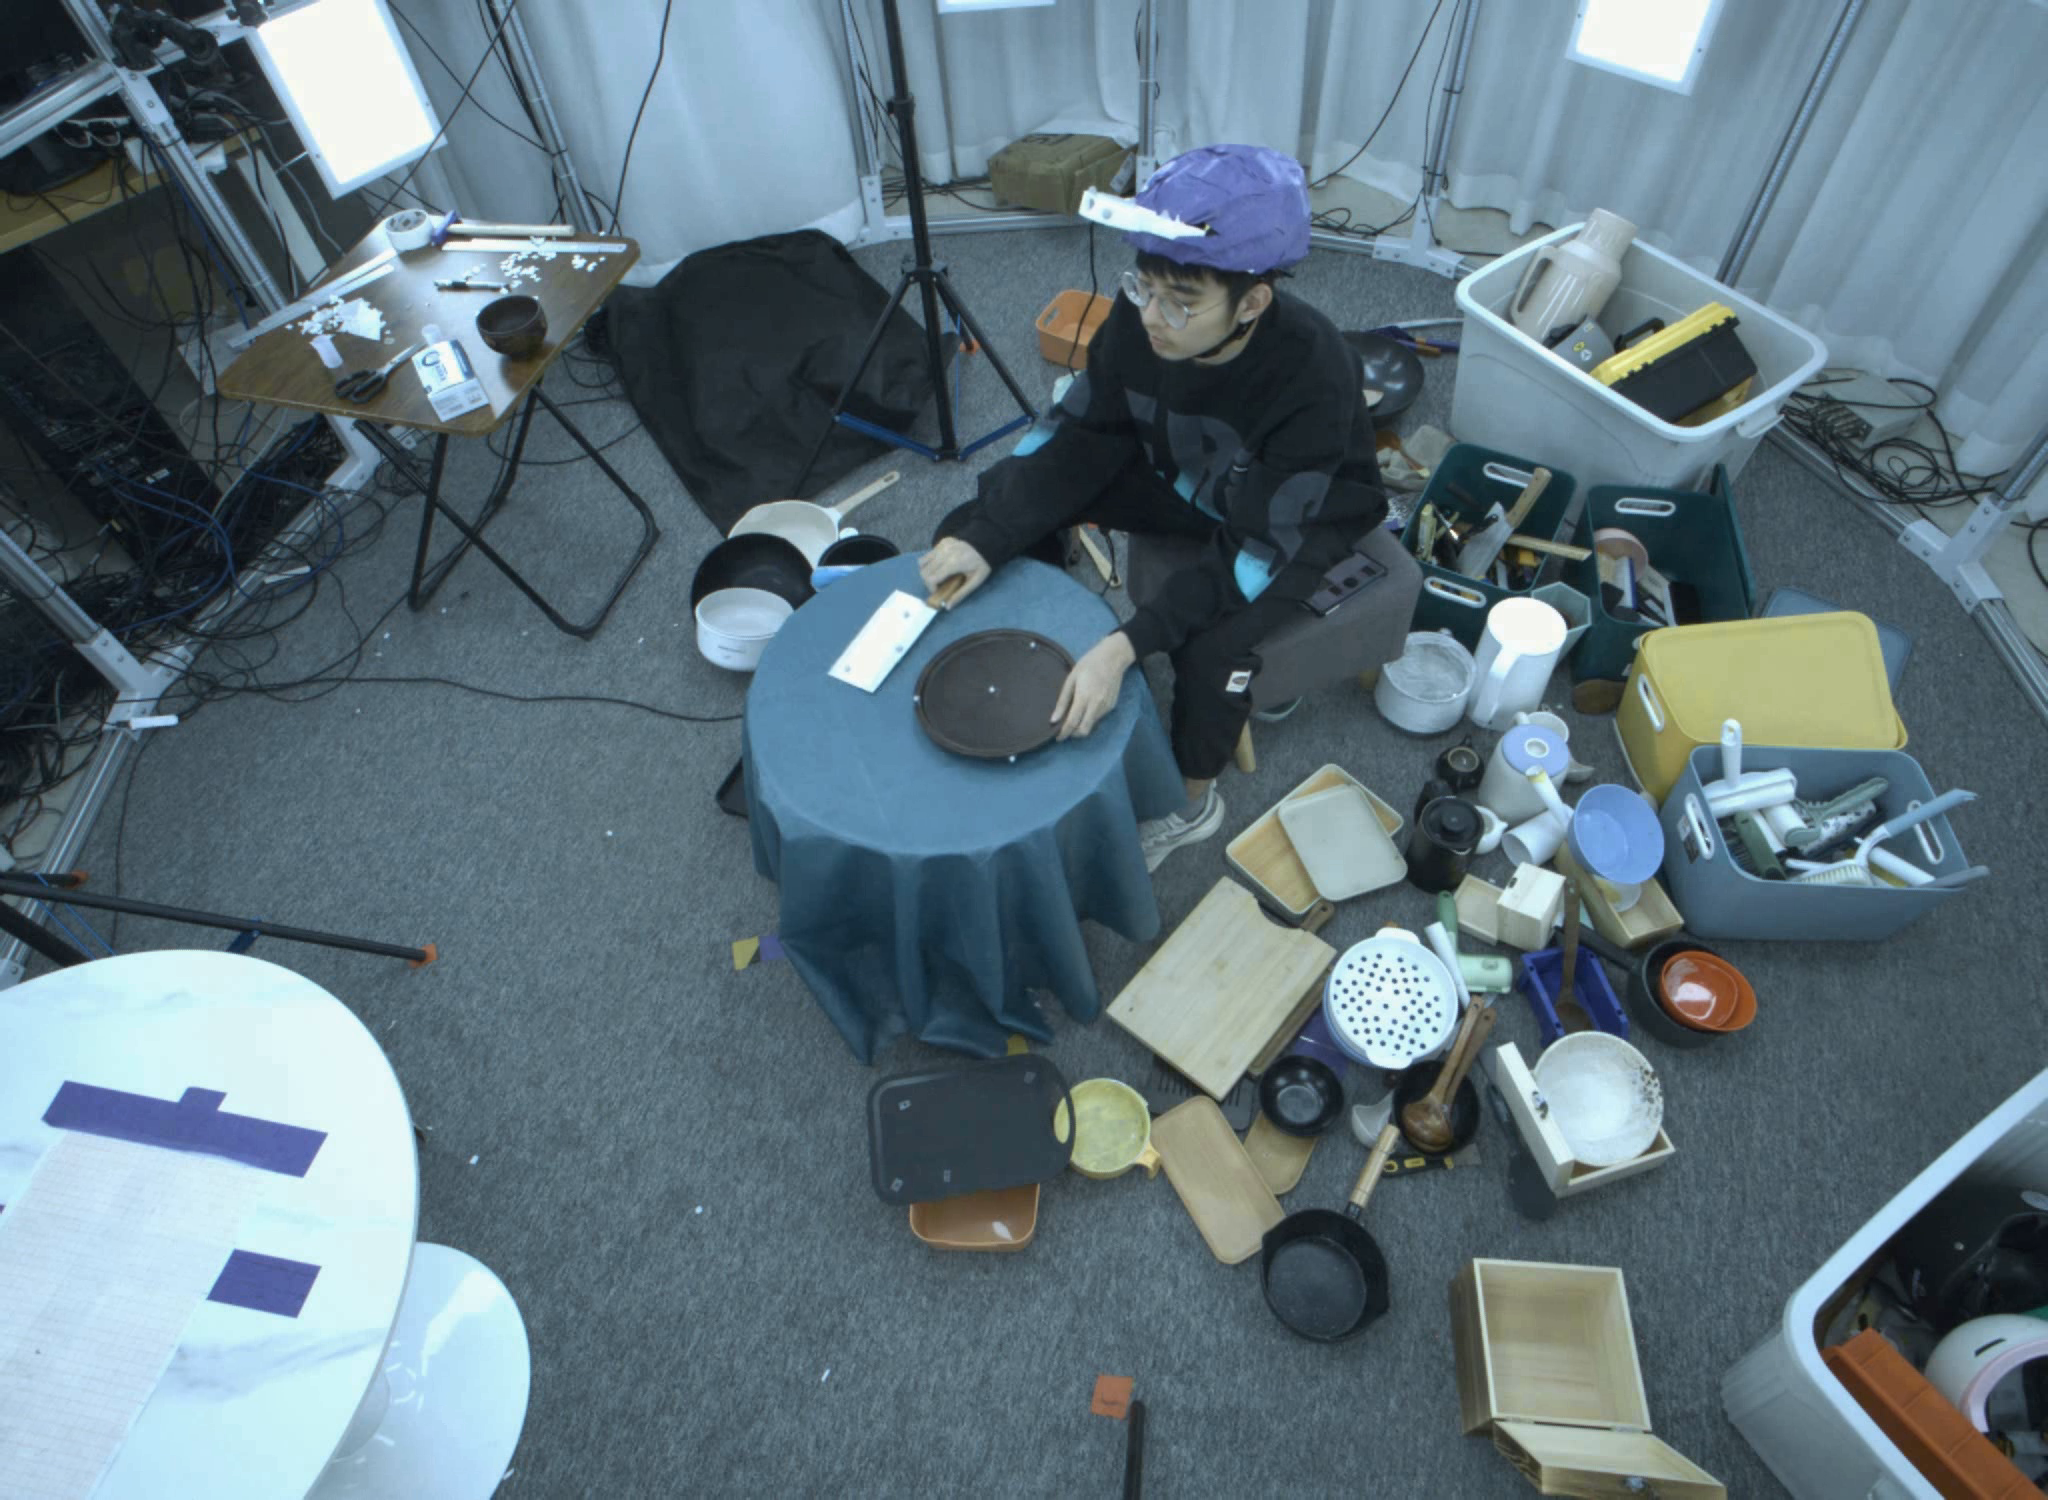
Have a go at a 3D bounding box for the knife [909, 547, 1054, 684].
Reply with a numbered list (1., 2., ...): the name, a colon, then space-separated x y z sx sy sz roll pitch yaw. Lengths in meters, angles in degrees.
1. knife: -0.070 -0.223 1.931 0.091 0.021 0.307 28 64 24

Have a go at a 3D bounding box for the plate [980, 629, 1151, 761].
1. plate: 0.062 -0.083 1.820 0.254 0.029 0.252 -3 52 6
